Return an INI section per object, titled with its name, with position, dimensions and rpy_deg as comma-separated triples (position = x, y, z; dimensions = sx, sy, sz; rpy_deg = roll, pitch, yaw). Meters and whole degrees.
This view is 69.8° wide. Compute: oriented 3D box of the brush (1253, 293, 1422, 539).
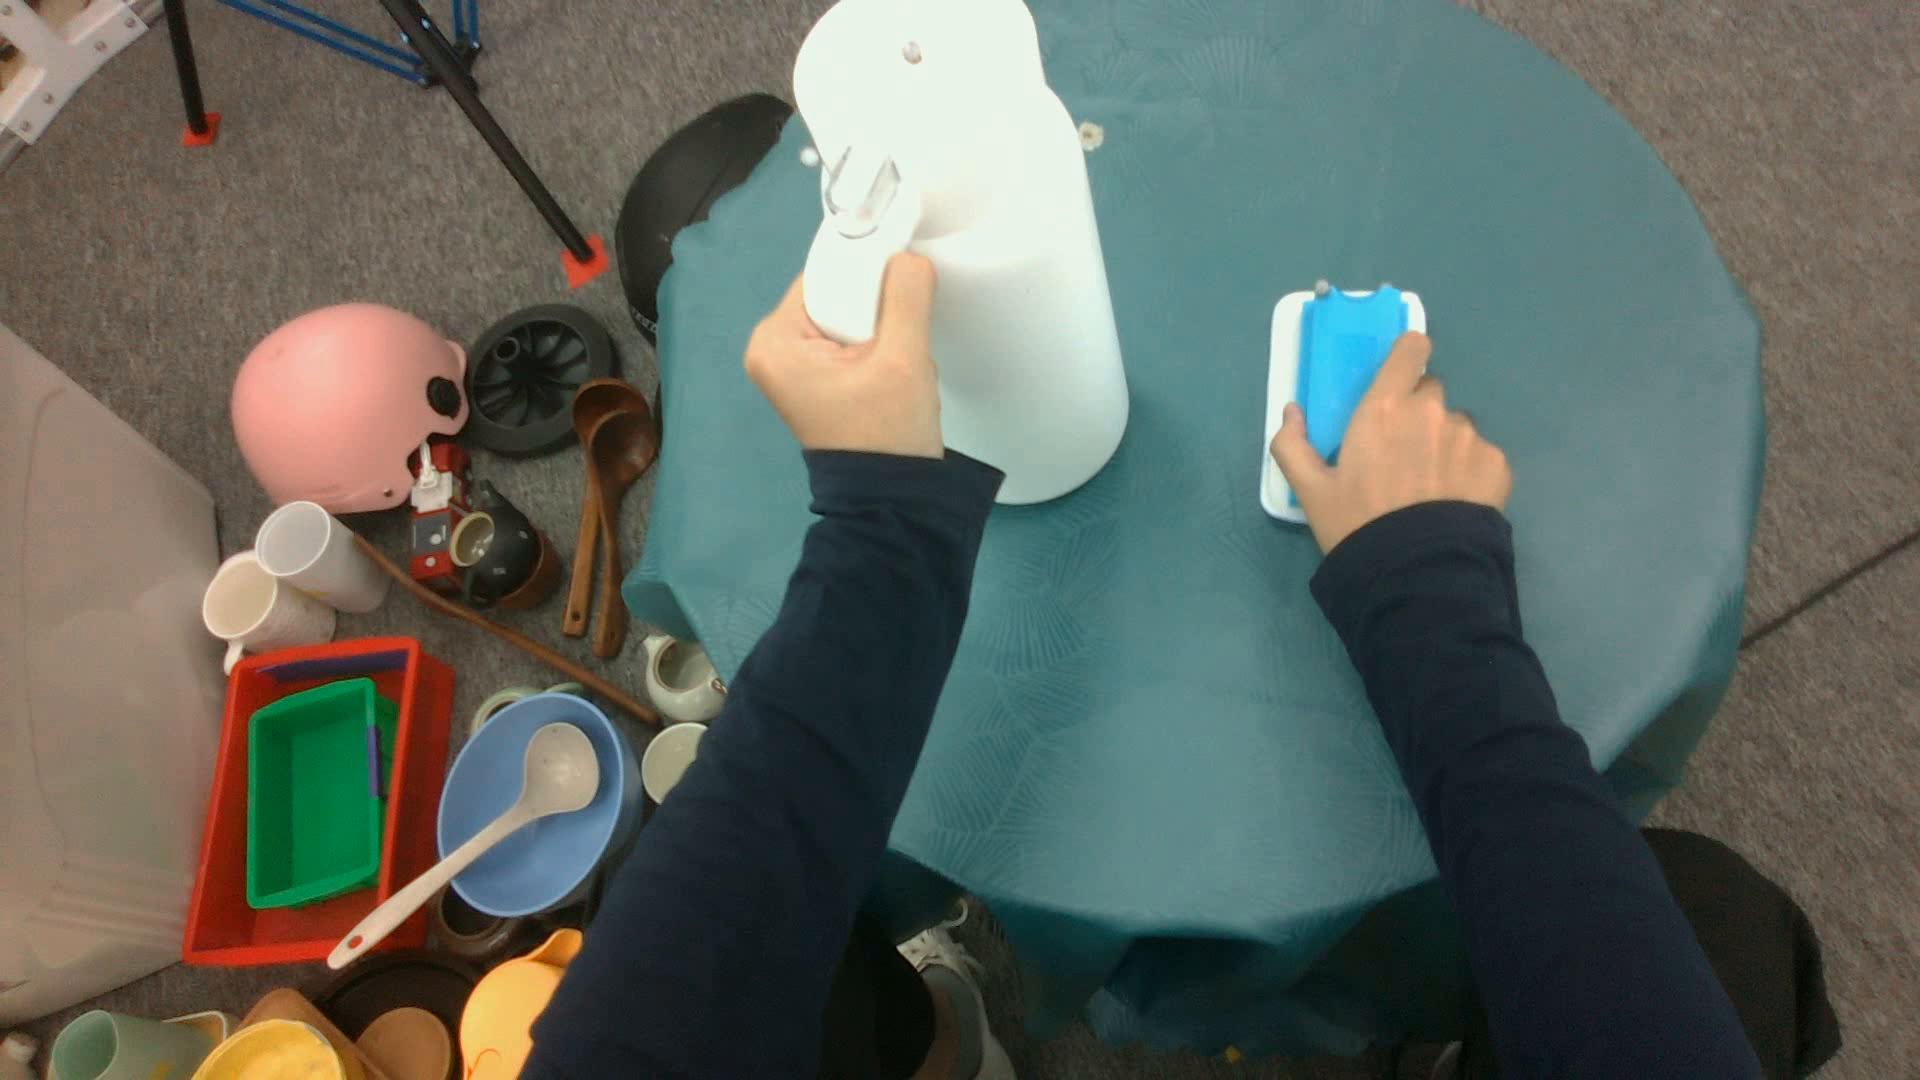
[brush]
position = 0.200, -0.072, 0.726
dimensions = 0.084, 0.056, 0.144
rpy_deg = 3, 64, 17

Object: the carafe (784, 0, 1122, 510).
[carafe]
position = 0.002, -0.109, 0.668
dimensions = 0.124, 0.268, 0.173
rpy_deg = 13, 67, 18
